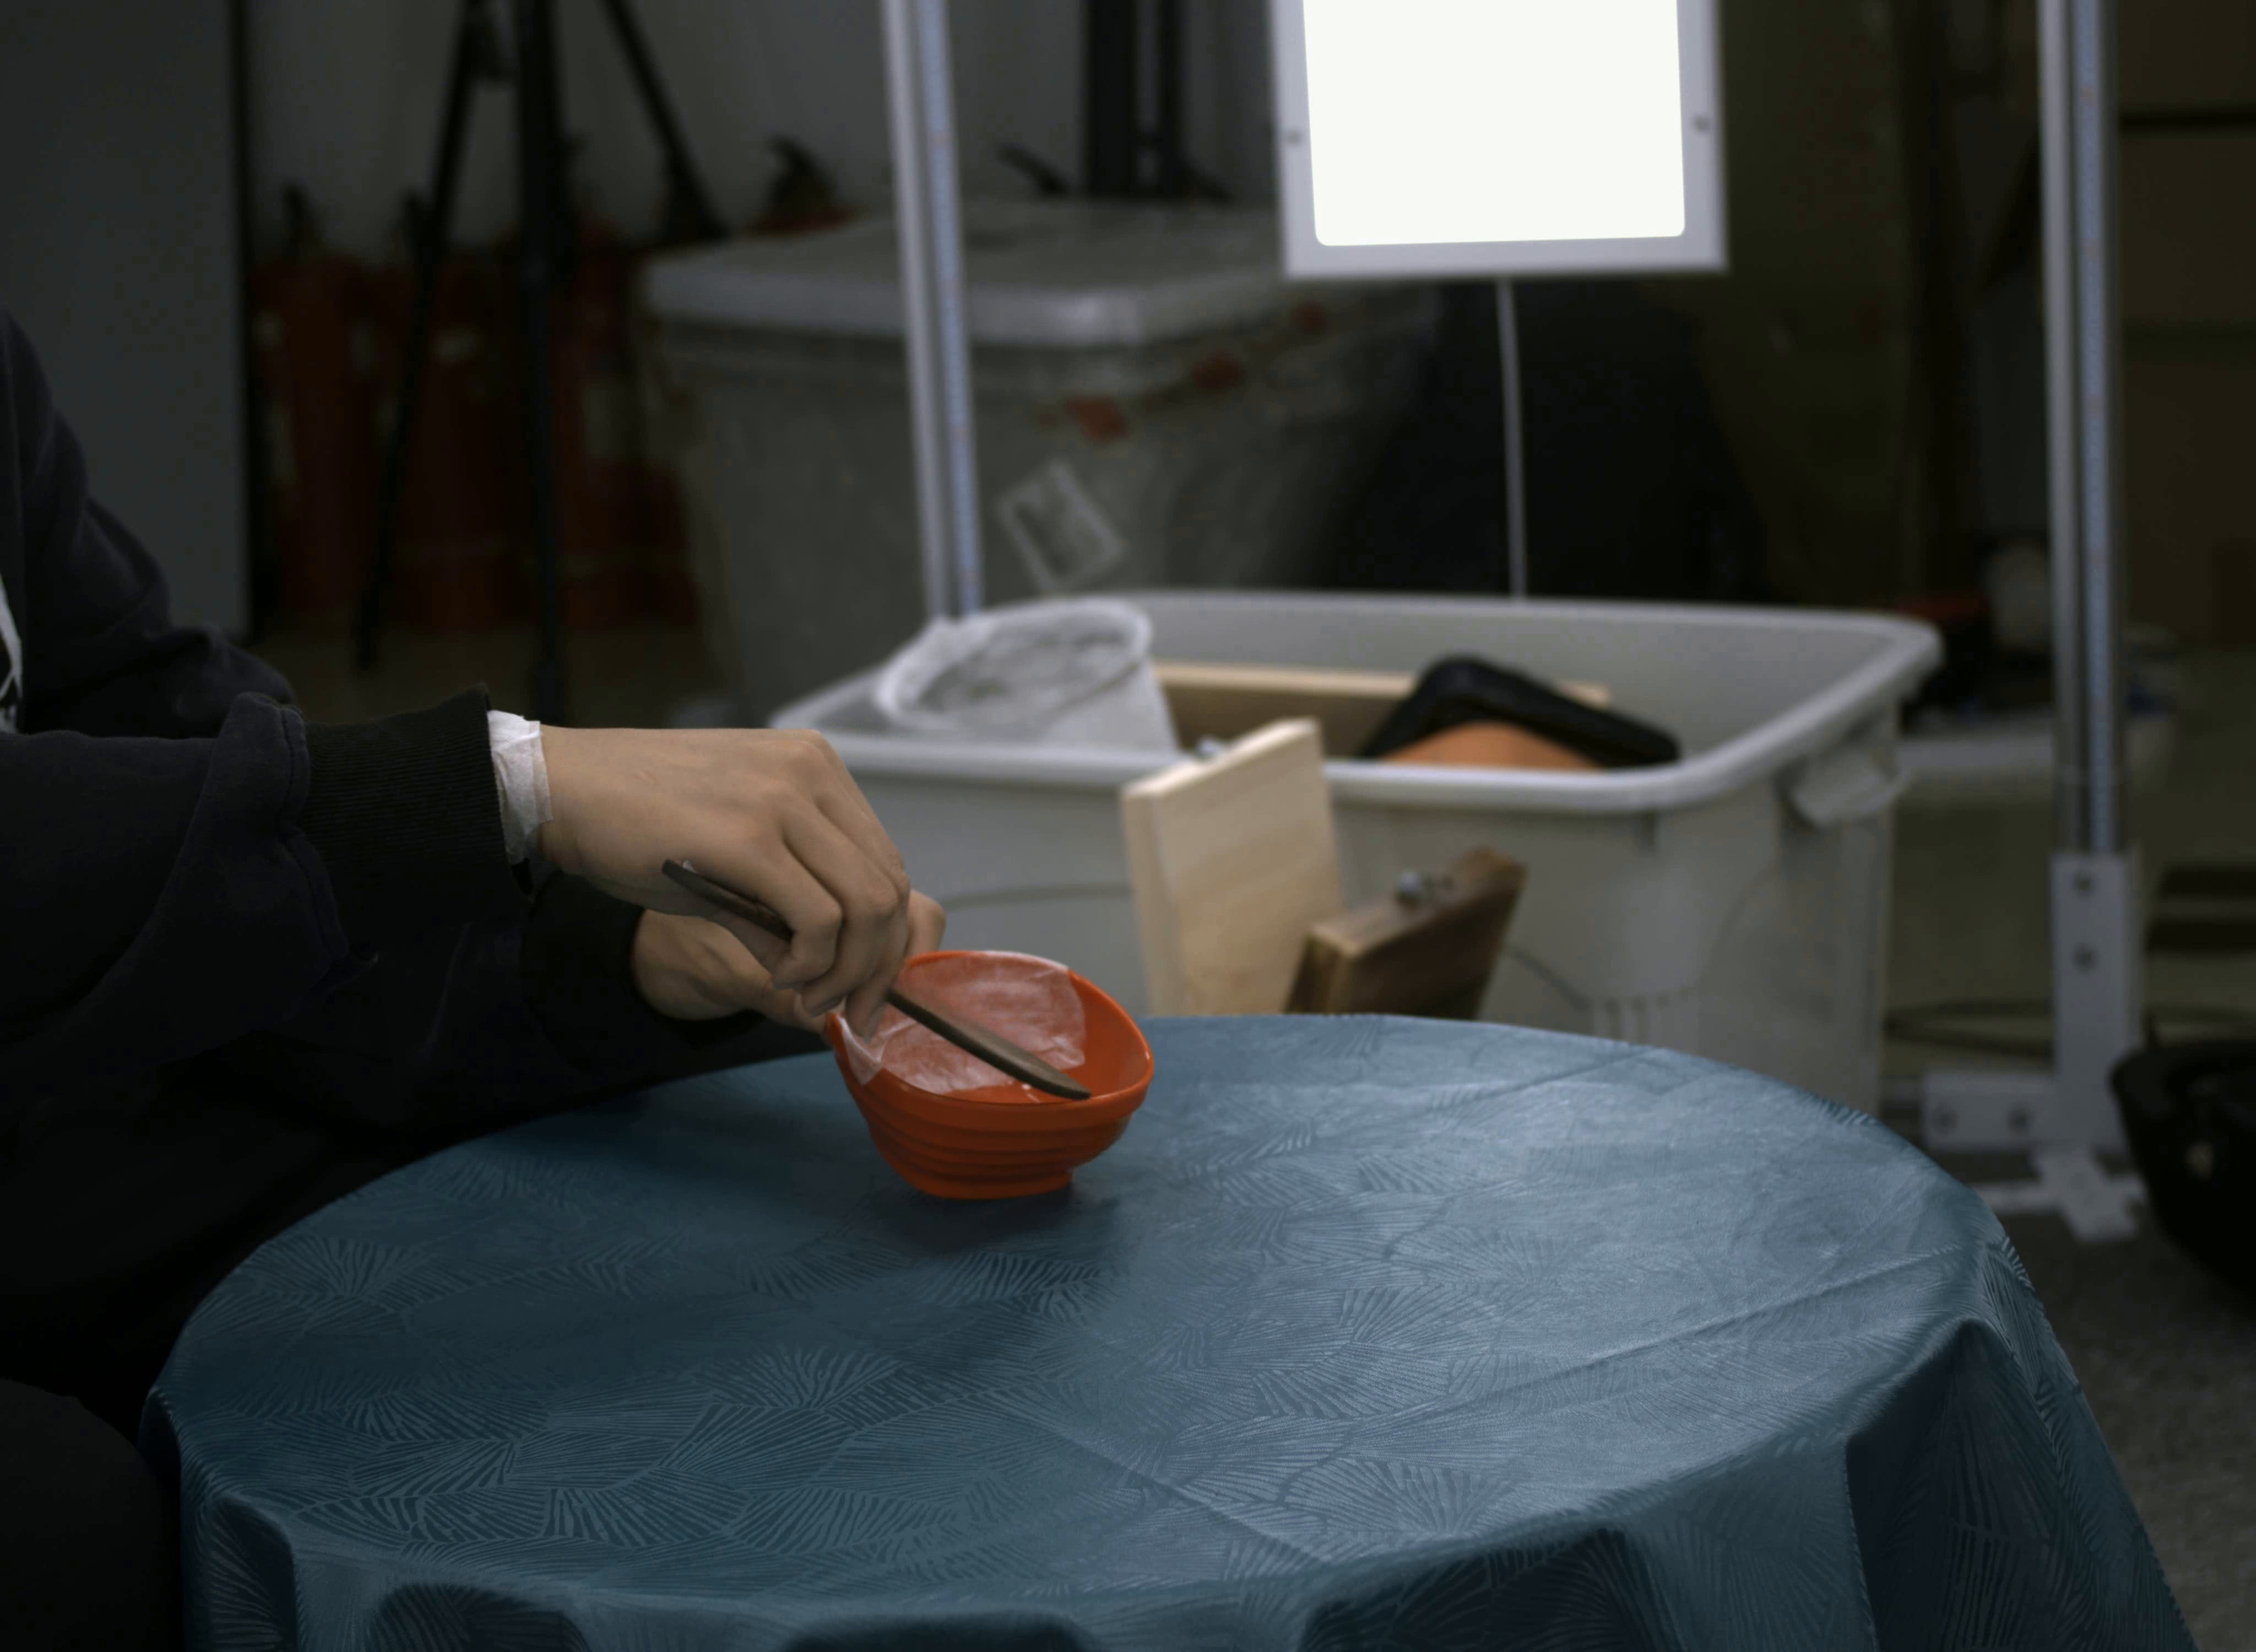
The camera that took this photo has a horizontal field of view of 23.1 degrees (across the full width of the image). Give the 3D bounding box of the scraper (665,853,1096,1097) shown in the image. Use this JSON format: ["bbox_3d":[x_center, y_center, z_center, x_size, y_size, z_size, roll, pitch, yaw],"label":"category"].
[{"bbox_3d":[-0.087,0.048,1.814,0.077,0.011,0.207,25,-6,37],"label":"scraper"}]

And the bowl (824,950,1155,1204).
[{"bbox_3d":[-0.052,0.092,1.914,0.118,0.052,0.118,8,27,-5],"label":"bowl"}]
